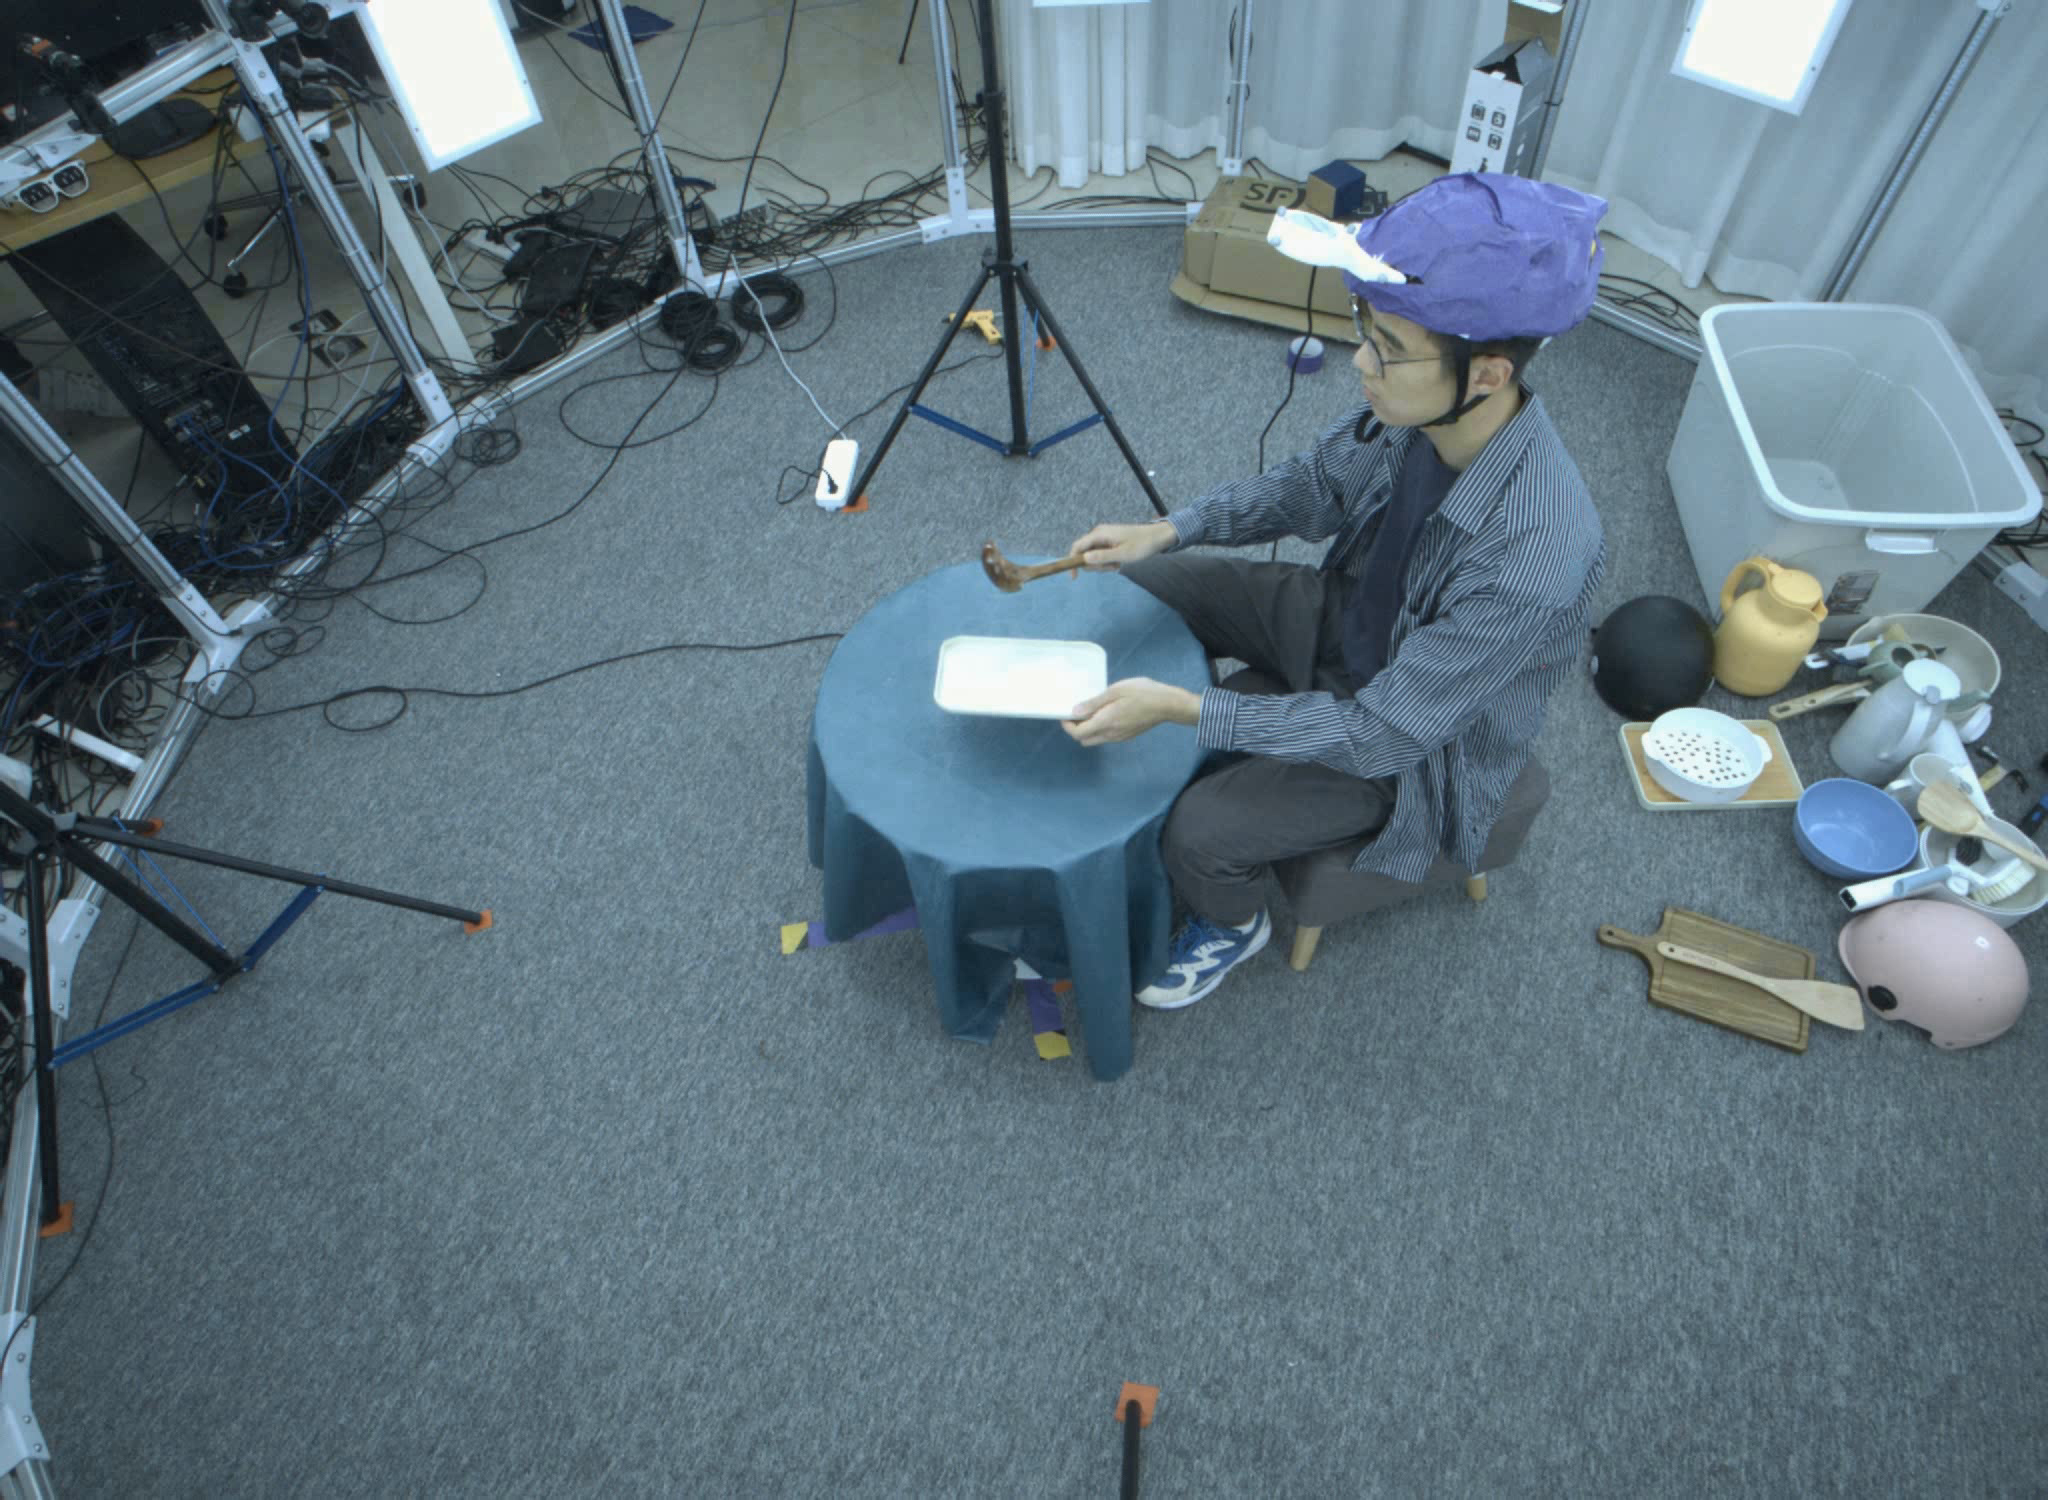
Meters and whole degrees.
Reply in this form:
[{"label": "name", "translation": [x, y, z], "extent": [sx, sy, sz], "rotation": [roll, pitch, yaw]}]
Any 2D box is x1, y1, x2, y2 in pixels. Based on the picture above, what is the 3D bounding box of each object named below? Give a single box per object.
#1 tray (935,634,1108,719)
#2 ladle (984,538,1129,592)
[{"label": "tray", "translation": [-0.001, -0.103, 1.737], "extent": [0.240, 0.017, 0.169], "rotation": [4, 42, -1]}, {"label": "ladle", "translation": [0.057, -0.280, 1.759], "extent": [0.278, 0.076, 0.081], "rotation": [-17, 74, -34]}]
